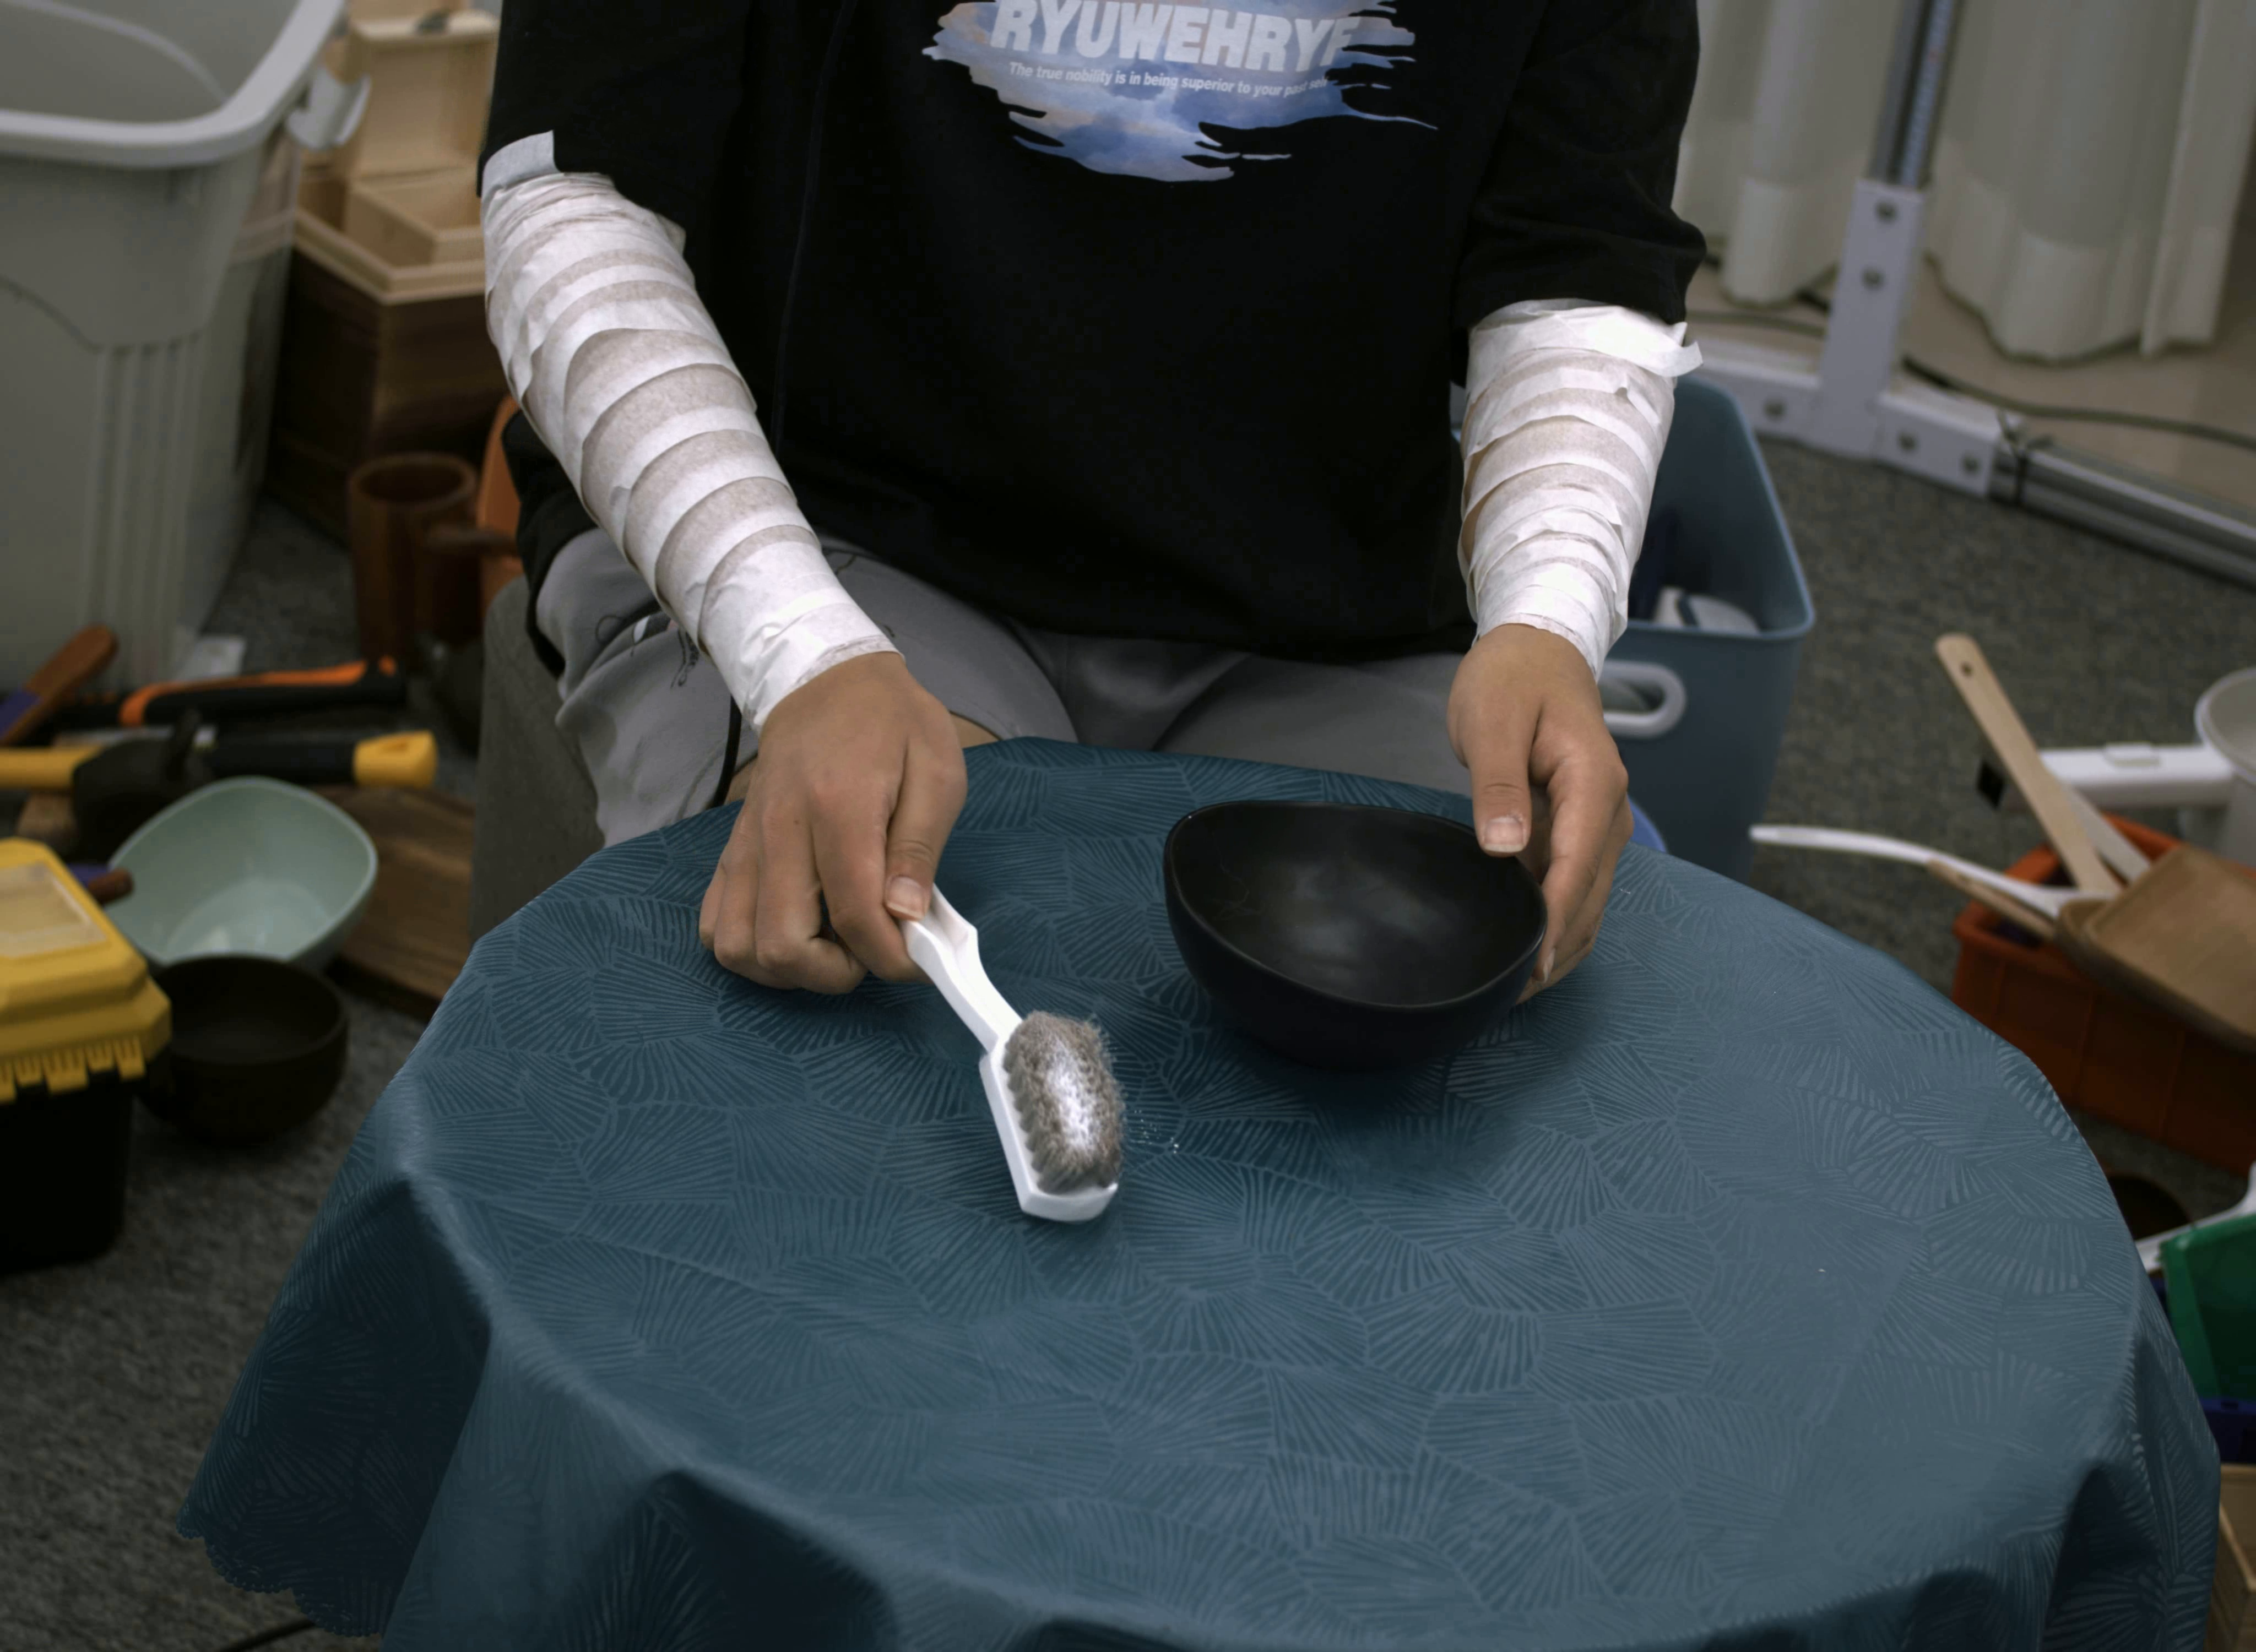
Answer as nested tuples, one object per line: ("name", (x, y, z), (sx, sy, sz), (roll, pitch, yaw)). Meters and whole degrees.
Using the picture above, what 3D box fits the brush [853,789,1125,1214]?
("brush", (-0.051, 0.045, 1.848), (0.034, 0.050, 0.246), (0, 36, -21))

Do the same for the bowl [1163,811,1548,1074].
("bowl", (0.077, 0.046, 1.906), (0.136, 0.066, 0.171), (2, 25, -10))
